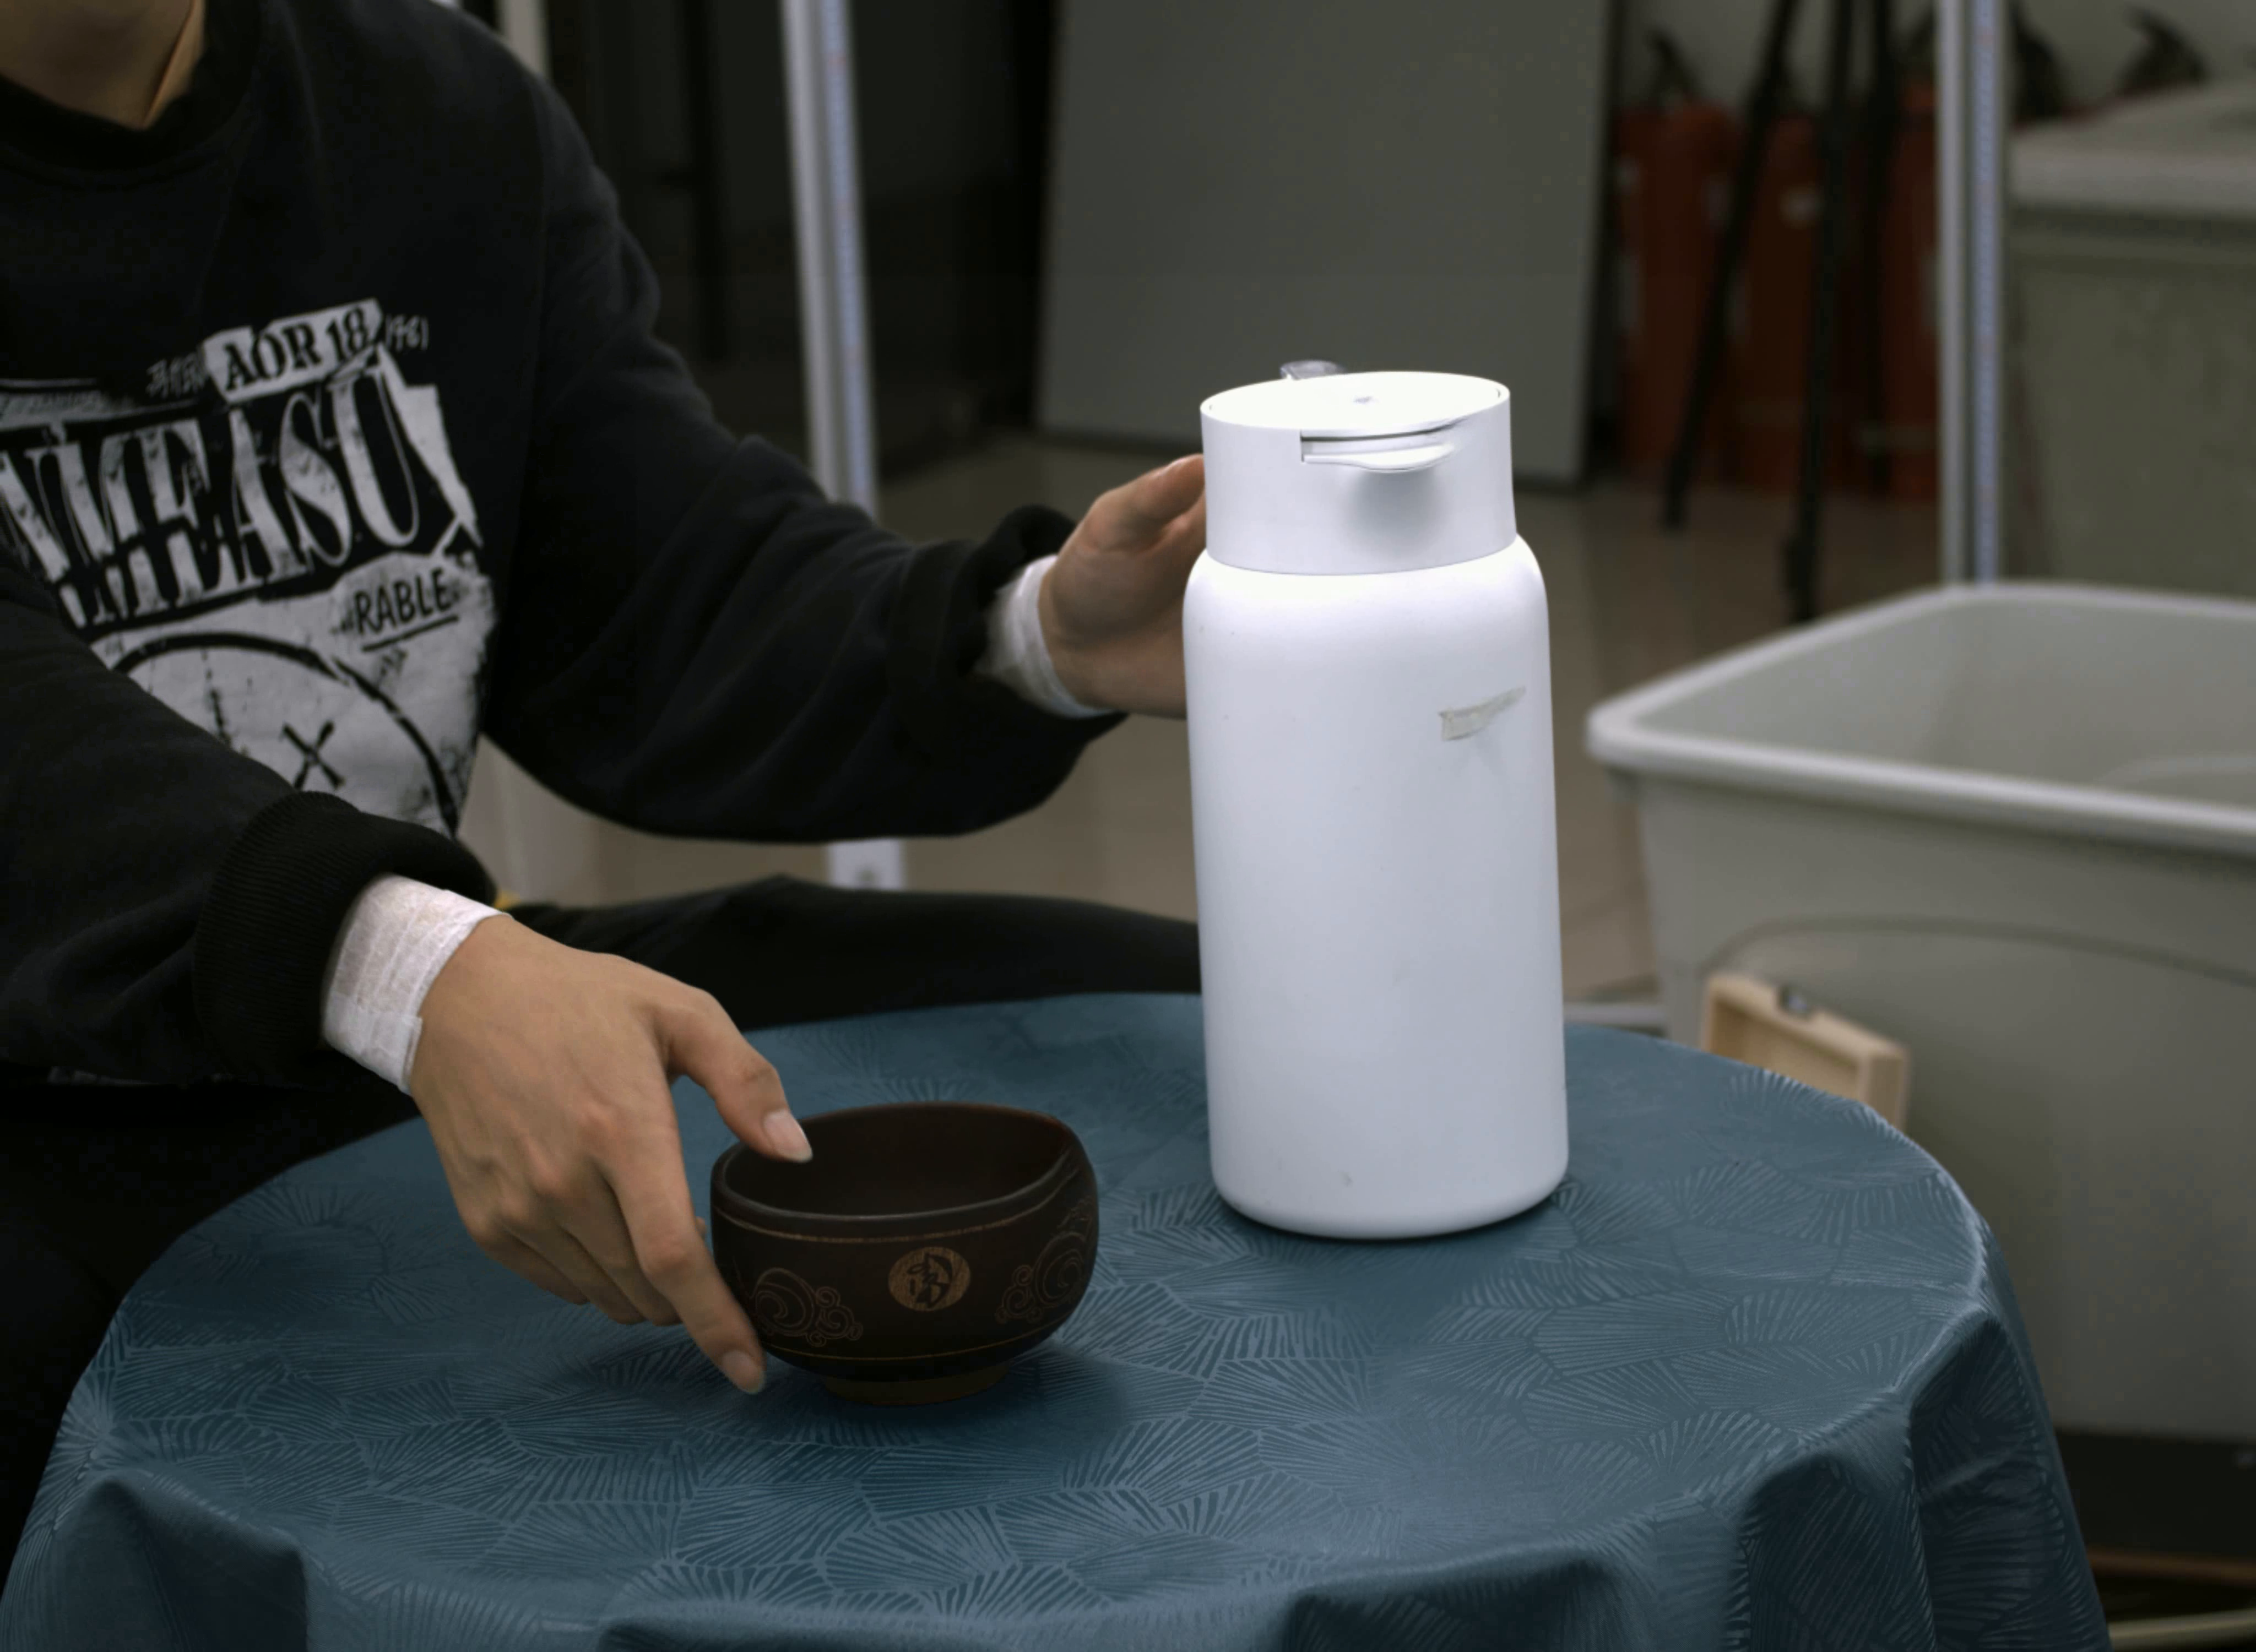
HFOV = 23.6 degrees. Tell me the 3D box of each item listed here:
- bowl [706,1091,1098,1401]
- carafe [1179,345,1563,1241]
[{"bbox_3d":[-0.066,0.129,1.609,0.116,0.070,0.118,-5,14,0],"label":"bowl"},{"bbox_3d":[0.072,-0.014,1.739,0.122,0.272,0.174,-8,14,-9],"label":"carafe"}]
